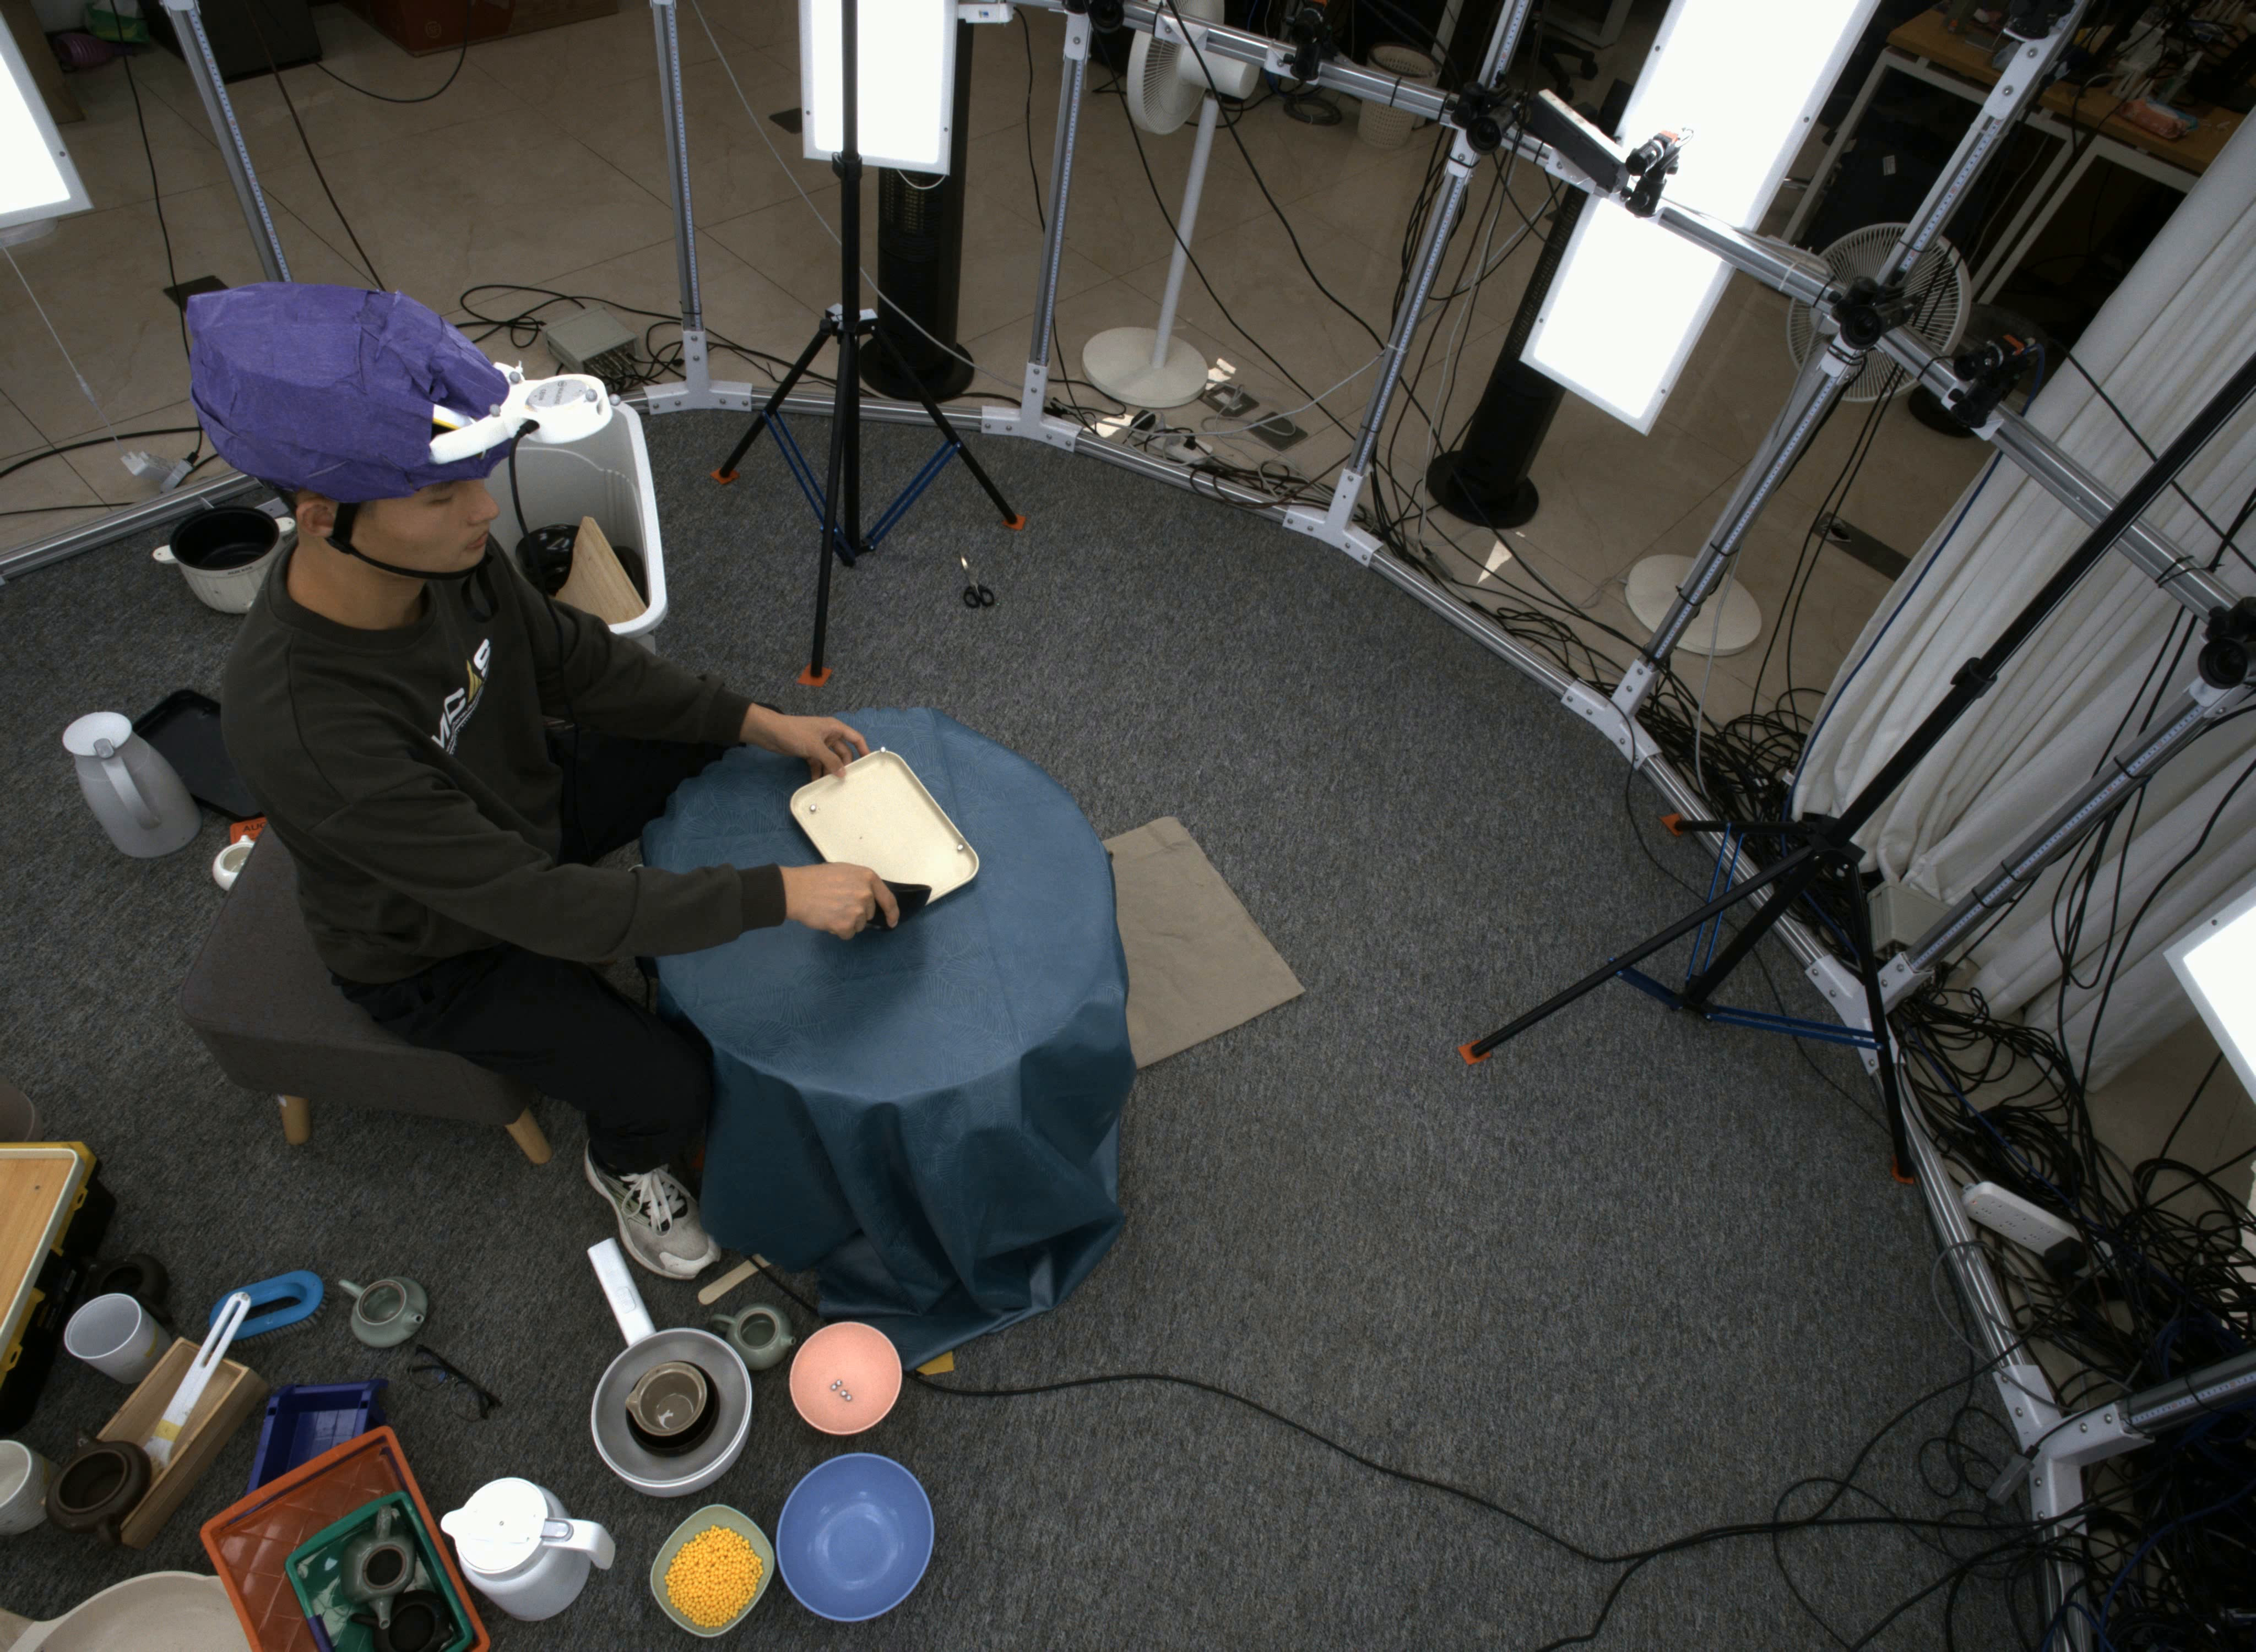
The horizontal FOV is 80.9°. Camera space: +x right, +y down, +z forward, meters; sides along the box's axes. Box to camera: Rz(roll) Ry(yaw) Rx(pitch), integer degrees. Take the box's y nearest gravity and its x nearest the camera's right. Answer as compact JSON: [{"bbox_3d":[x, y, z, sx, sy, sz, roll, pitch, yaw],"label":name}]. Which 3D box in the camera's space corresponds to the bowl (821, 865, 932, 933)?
[{"bbox_3d":[-0.317,0.092,1.608,0.136,0.169,0.067,14,90,-3],"label":"bowl"}]

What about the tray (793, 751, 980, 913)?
[{"bbox_3d":[-0.321,0.013,1.728,0.171,0.018,0.235,-31,69,-26],"label":"tray"}]
